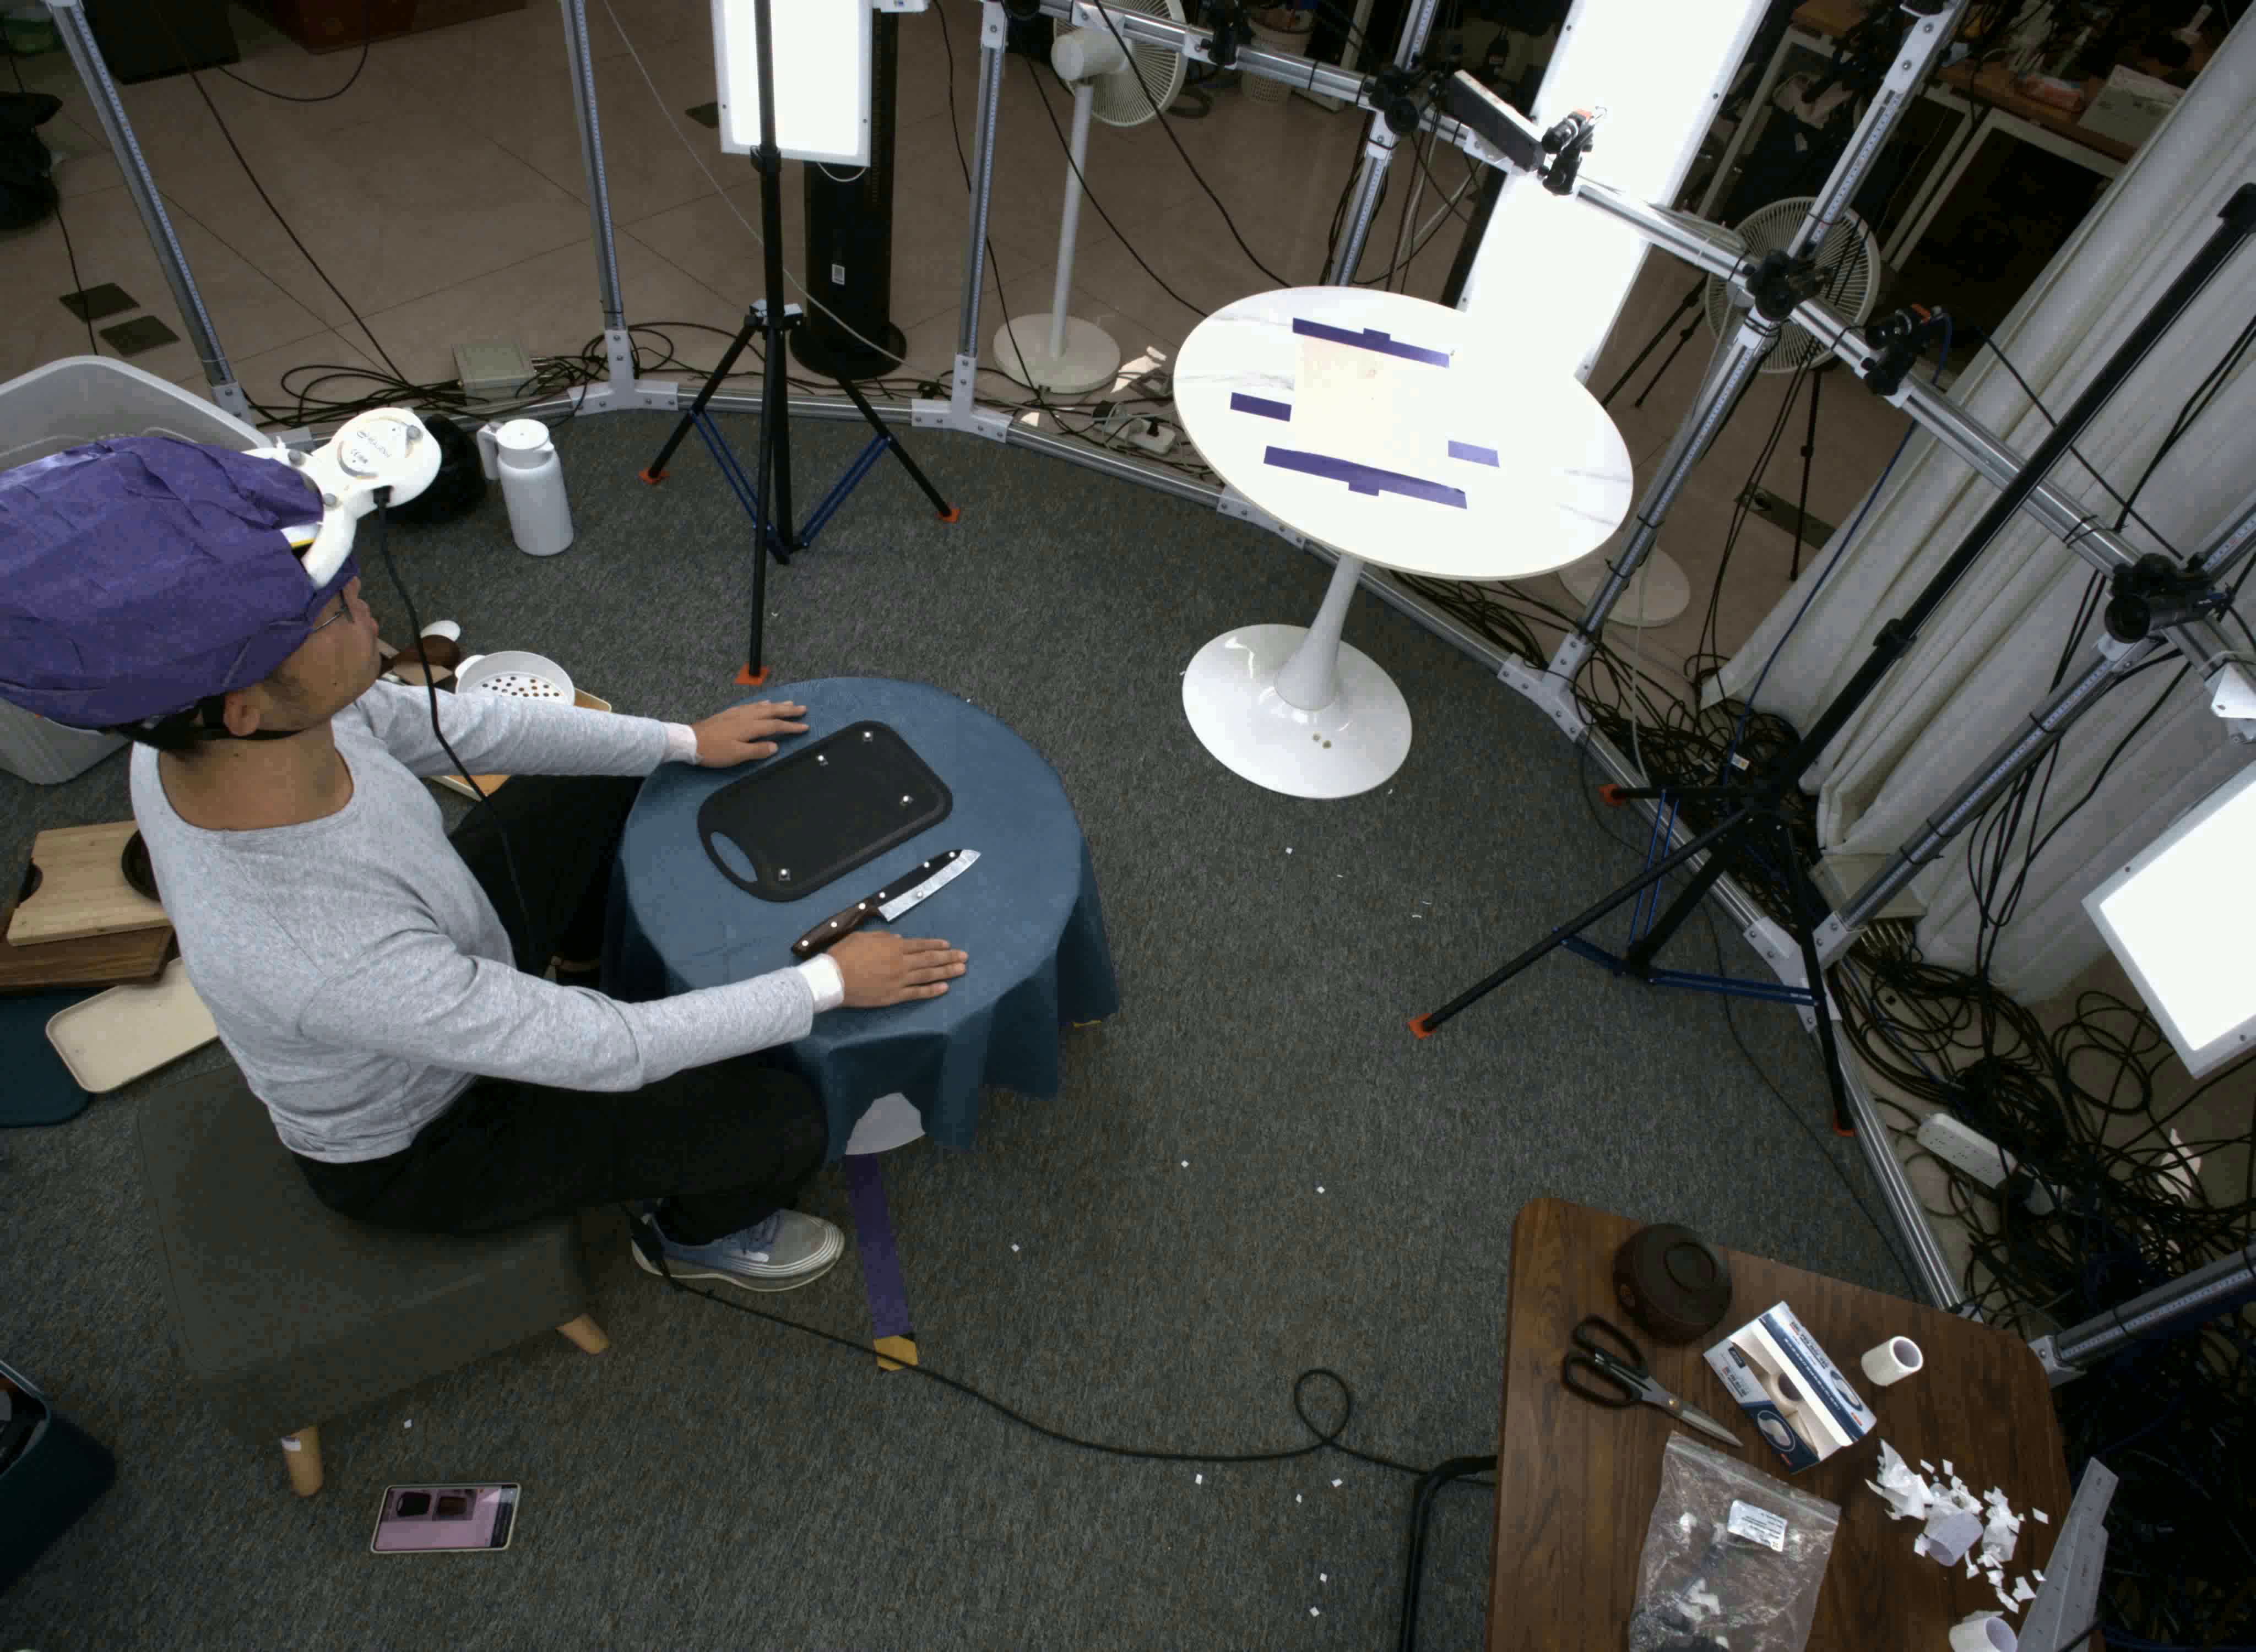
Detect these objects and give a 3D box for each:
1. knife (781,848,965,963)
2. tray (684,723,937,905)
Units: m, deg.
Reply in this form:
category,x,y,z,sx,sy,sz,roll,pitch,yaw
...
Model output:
category,x,y,z,sx,sy,sz,roll,pitch,yaw
knife,-0.323,0.096,1.680,0.290,0.020,0.049,-32,72,-34
tray,-0.430,-0.021,1.745,0.326,0.010,0.206,-32,67,-31
